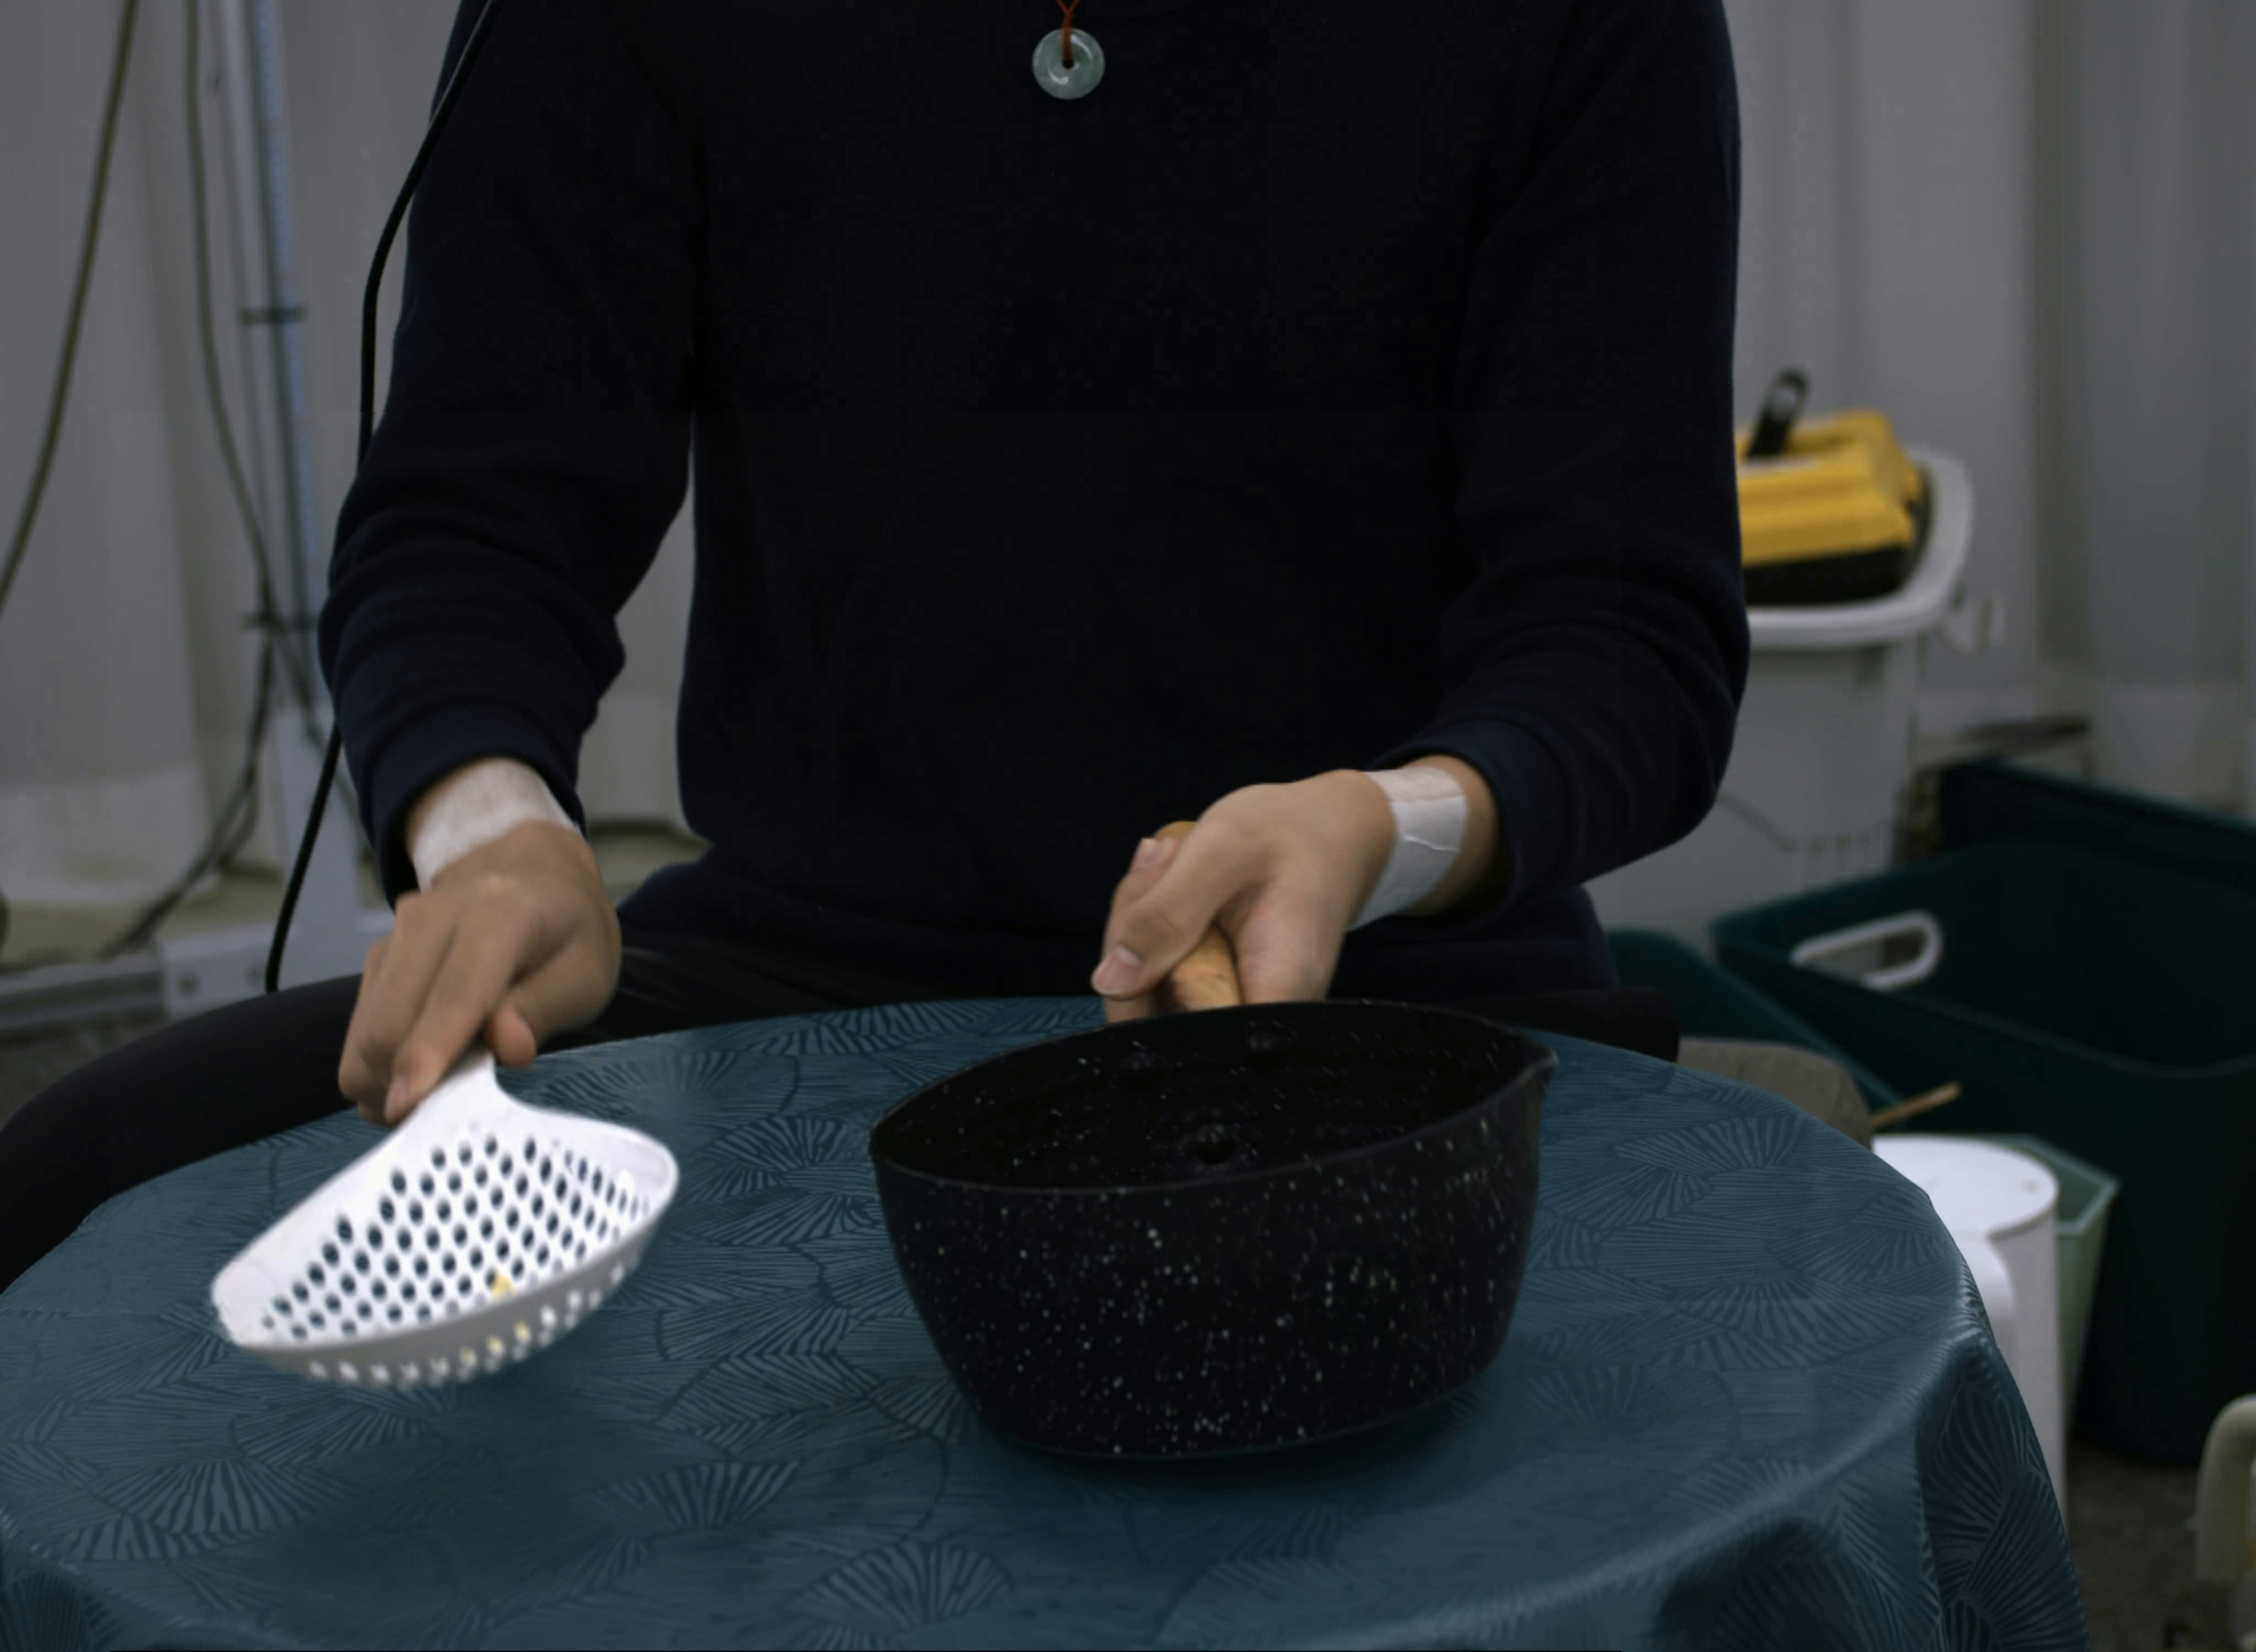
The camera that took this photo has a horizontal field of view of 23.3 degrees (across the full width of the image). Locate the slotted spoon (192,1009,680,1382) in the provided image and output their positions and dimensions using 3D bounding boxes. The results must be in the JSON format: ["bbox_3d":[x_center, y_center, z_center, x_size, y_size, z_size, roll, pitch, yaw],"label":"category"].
[{"bbox_3d":[-0.194,0.091,1.582,0.136,0.050,0.351,-17,19,-2],"label":"slotted spoon"}]

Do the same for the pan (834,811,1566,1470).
[{"bbox_3d":[0.022,0.086,1.605,0.207,0.108,0.345,-9,13,1],"label":"pan"}]
